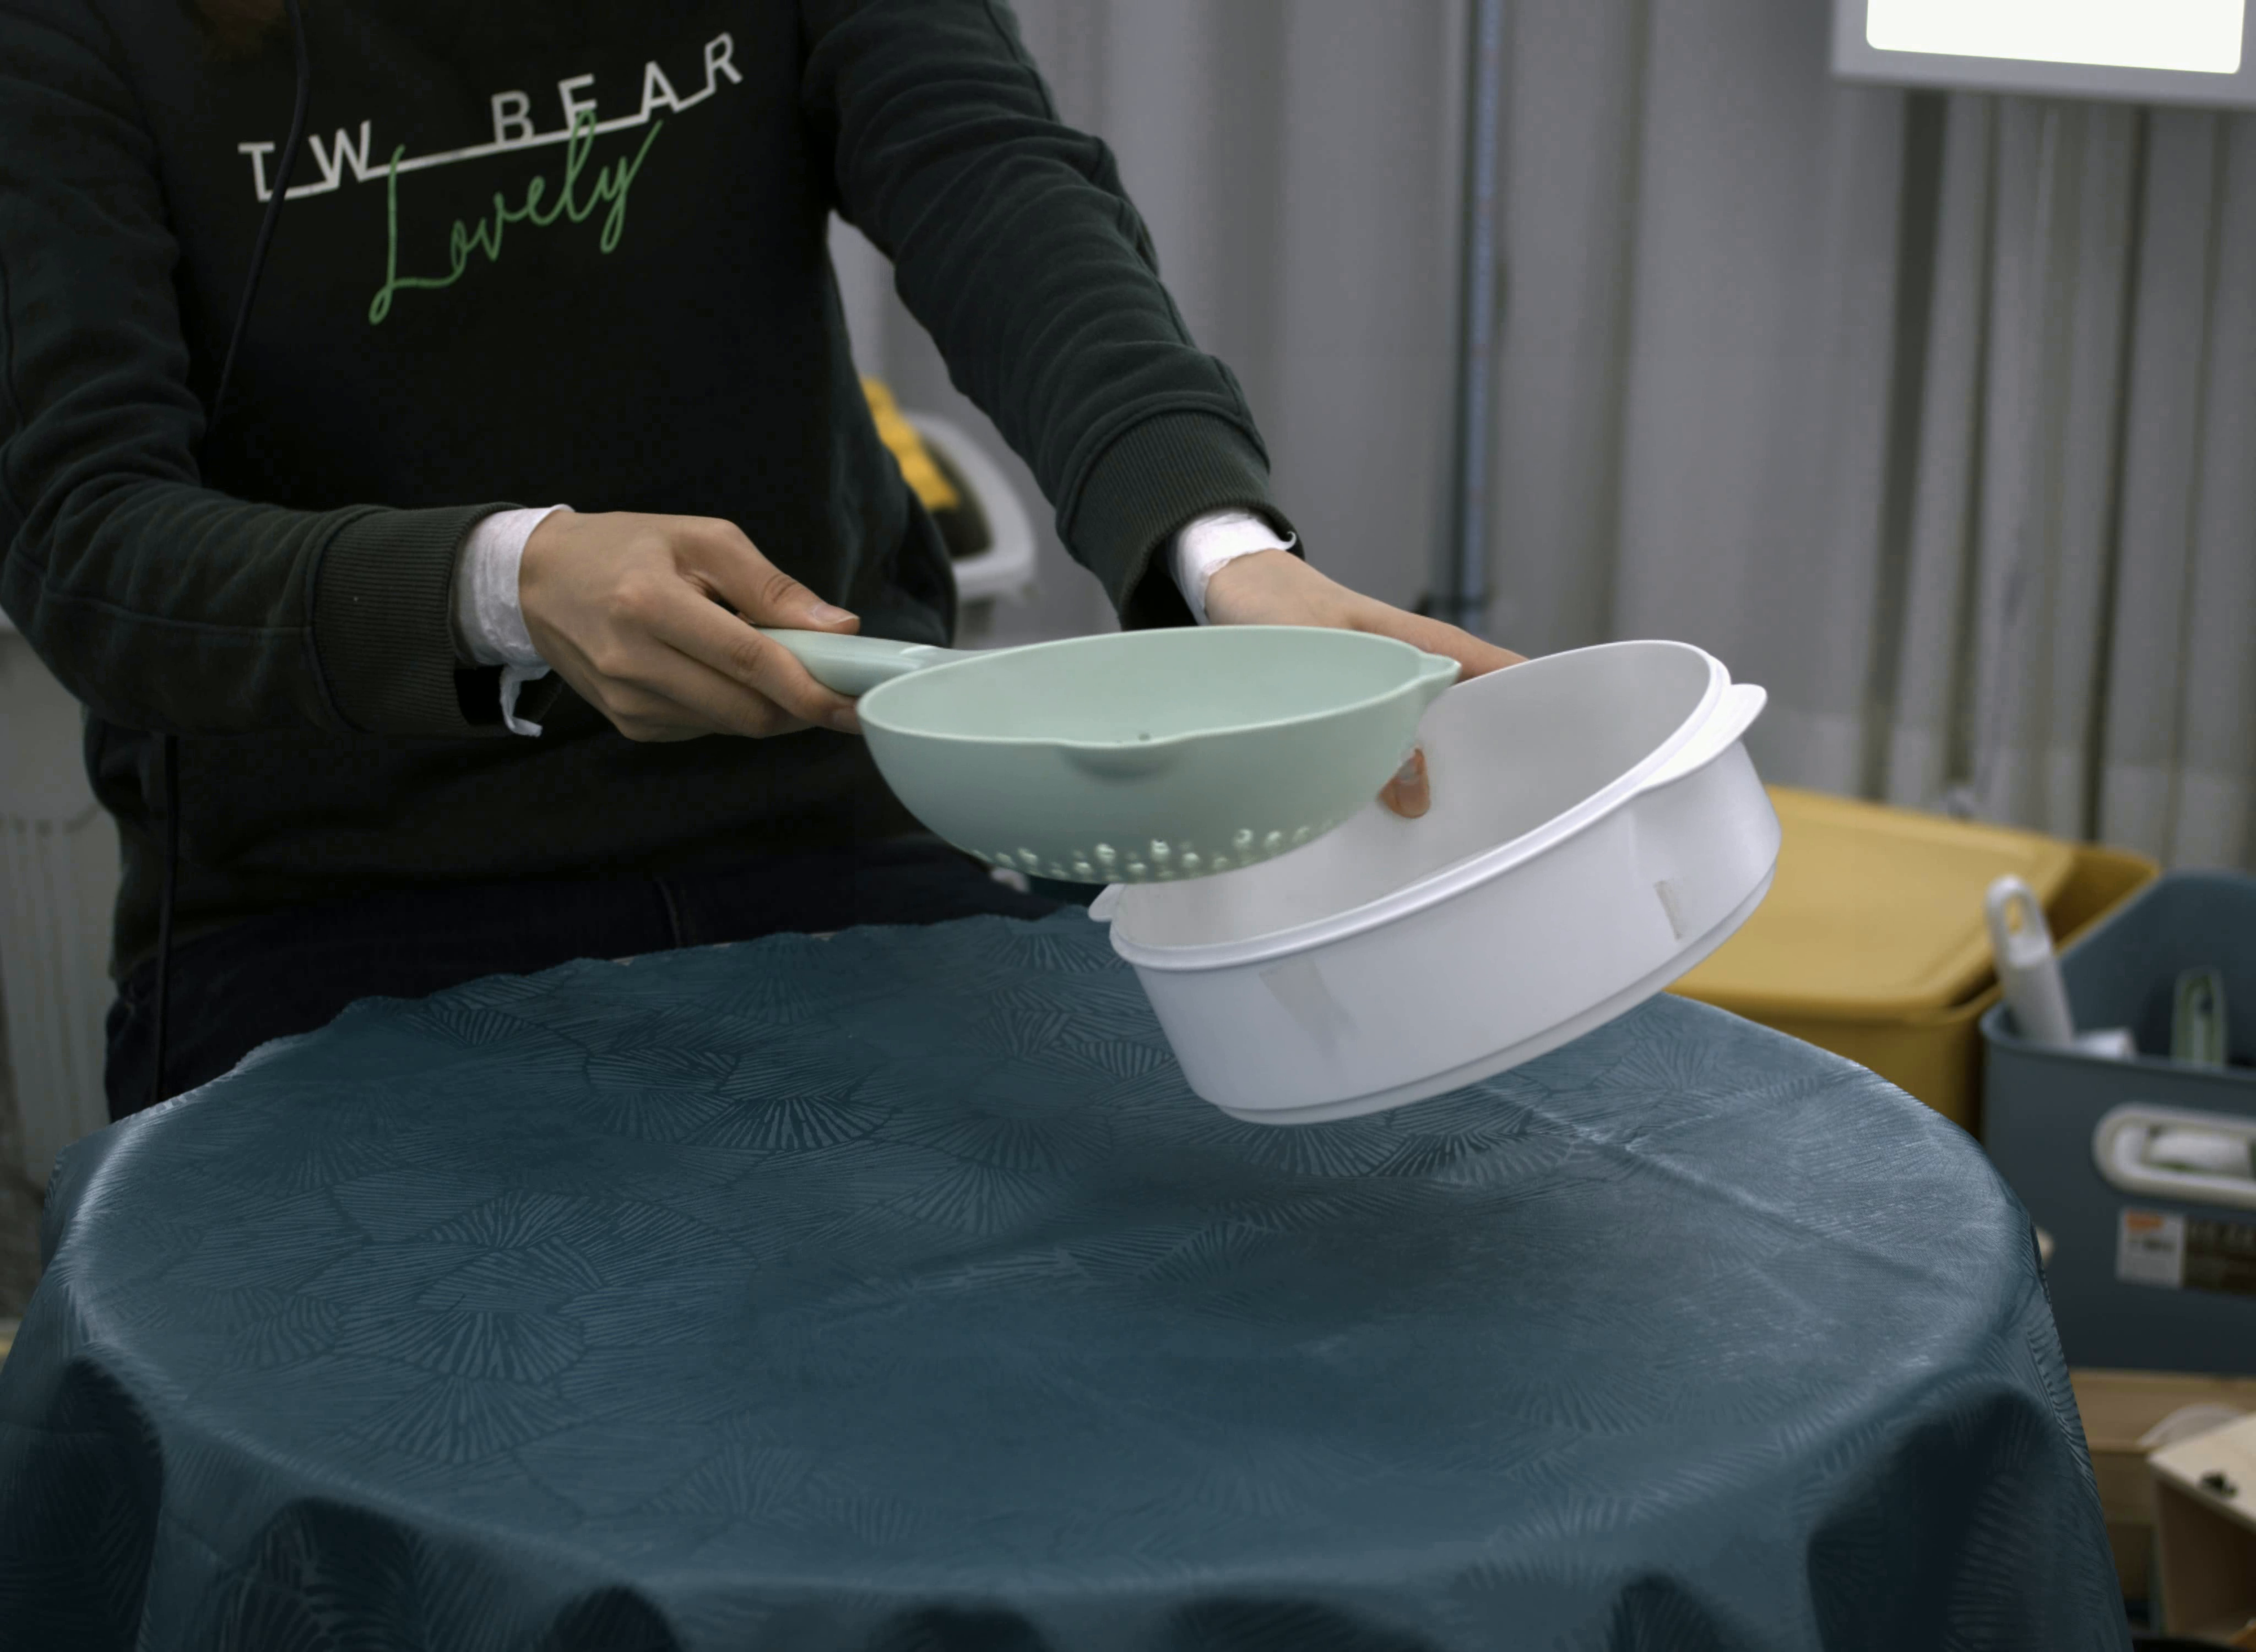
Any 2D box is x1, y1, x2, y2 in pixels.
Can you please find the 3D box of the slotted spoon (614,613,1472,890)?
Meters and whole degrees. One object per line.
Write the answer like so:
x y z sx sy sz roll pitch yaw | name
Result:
-0.053 -0.040 1.620 0.170 0.076 0.354 -13 23 -39 | slotted spoon

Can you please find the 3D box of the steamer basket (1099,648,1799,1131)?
0.102 0.020 1.571 0.228 0.070 0.202 -15 16 34 | steamer basket
